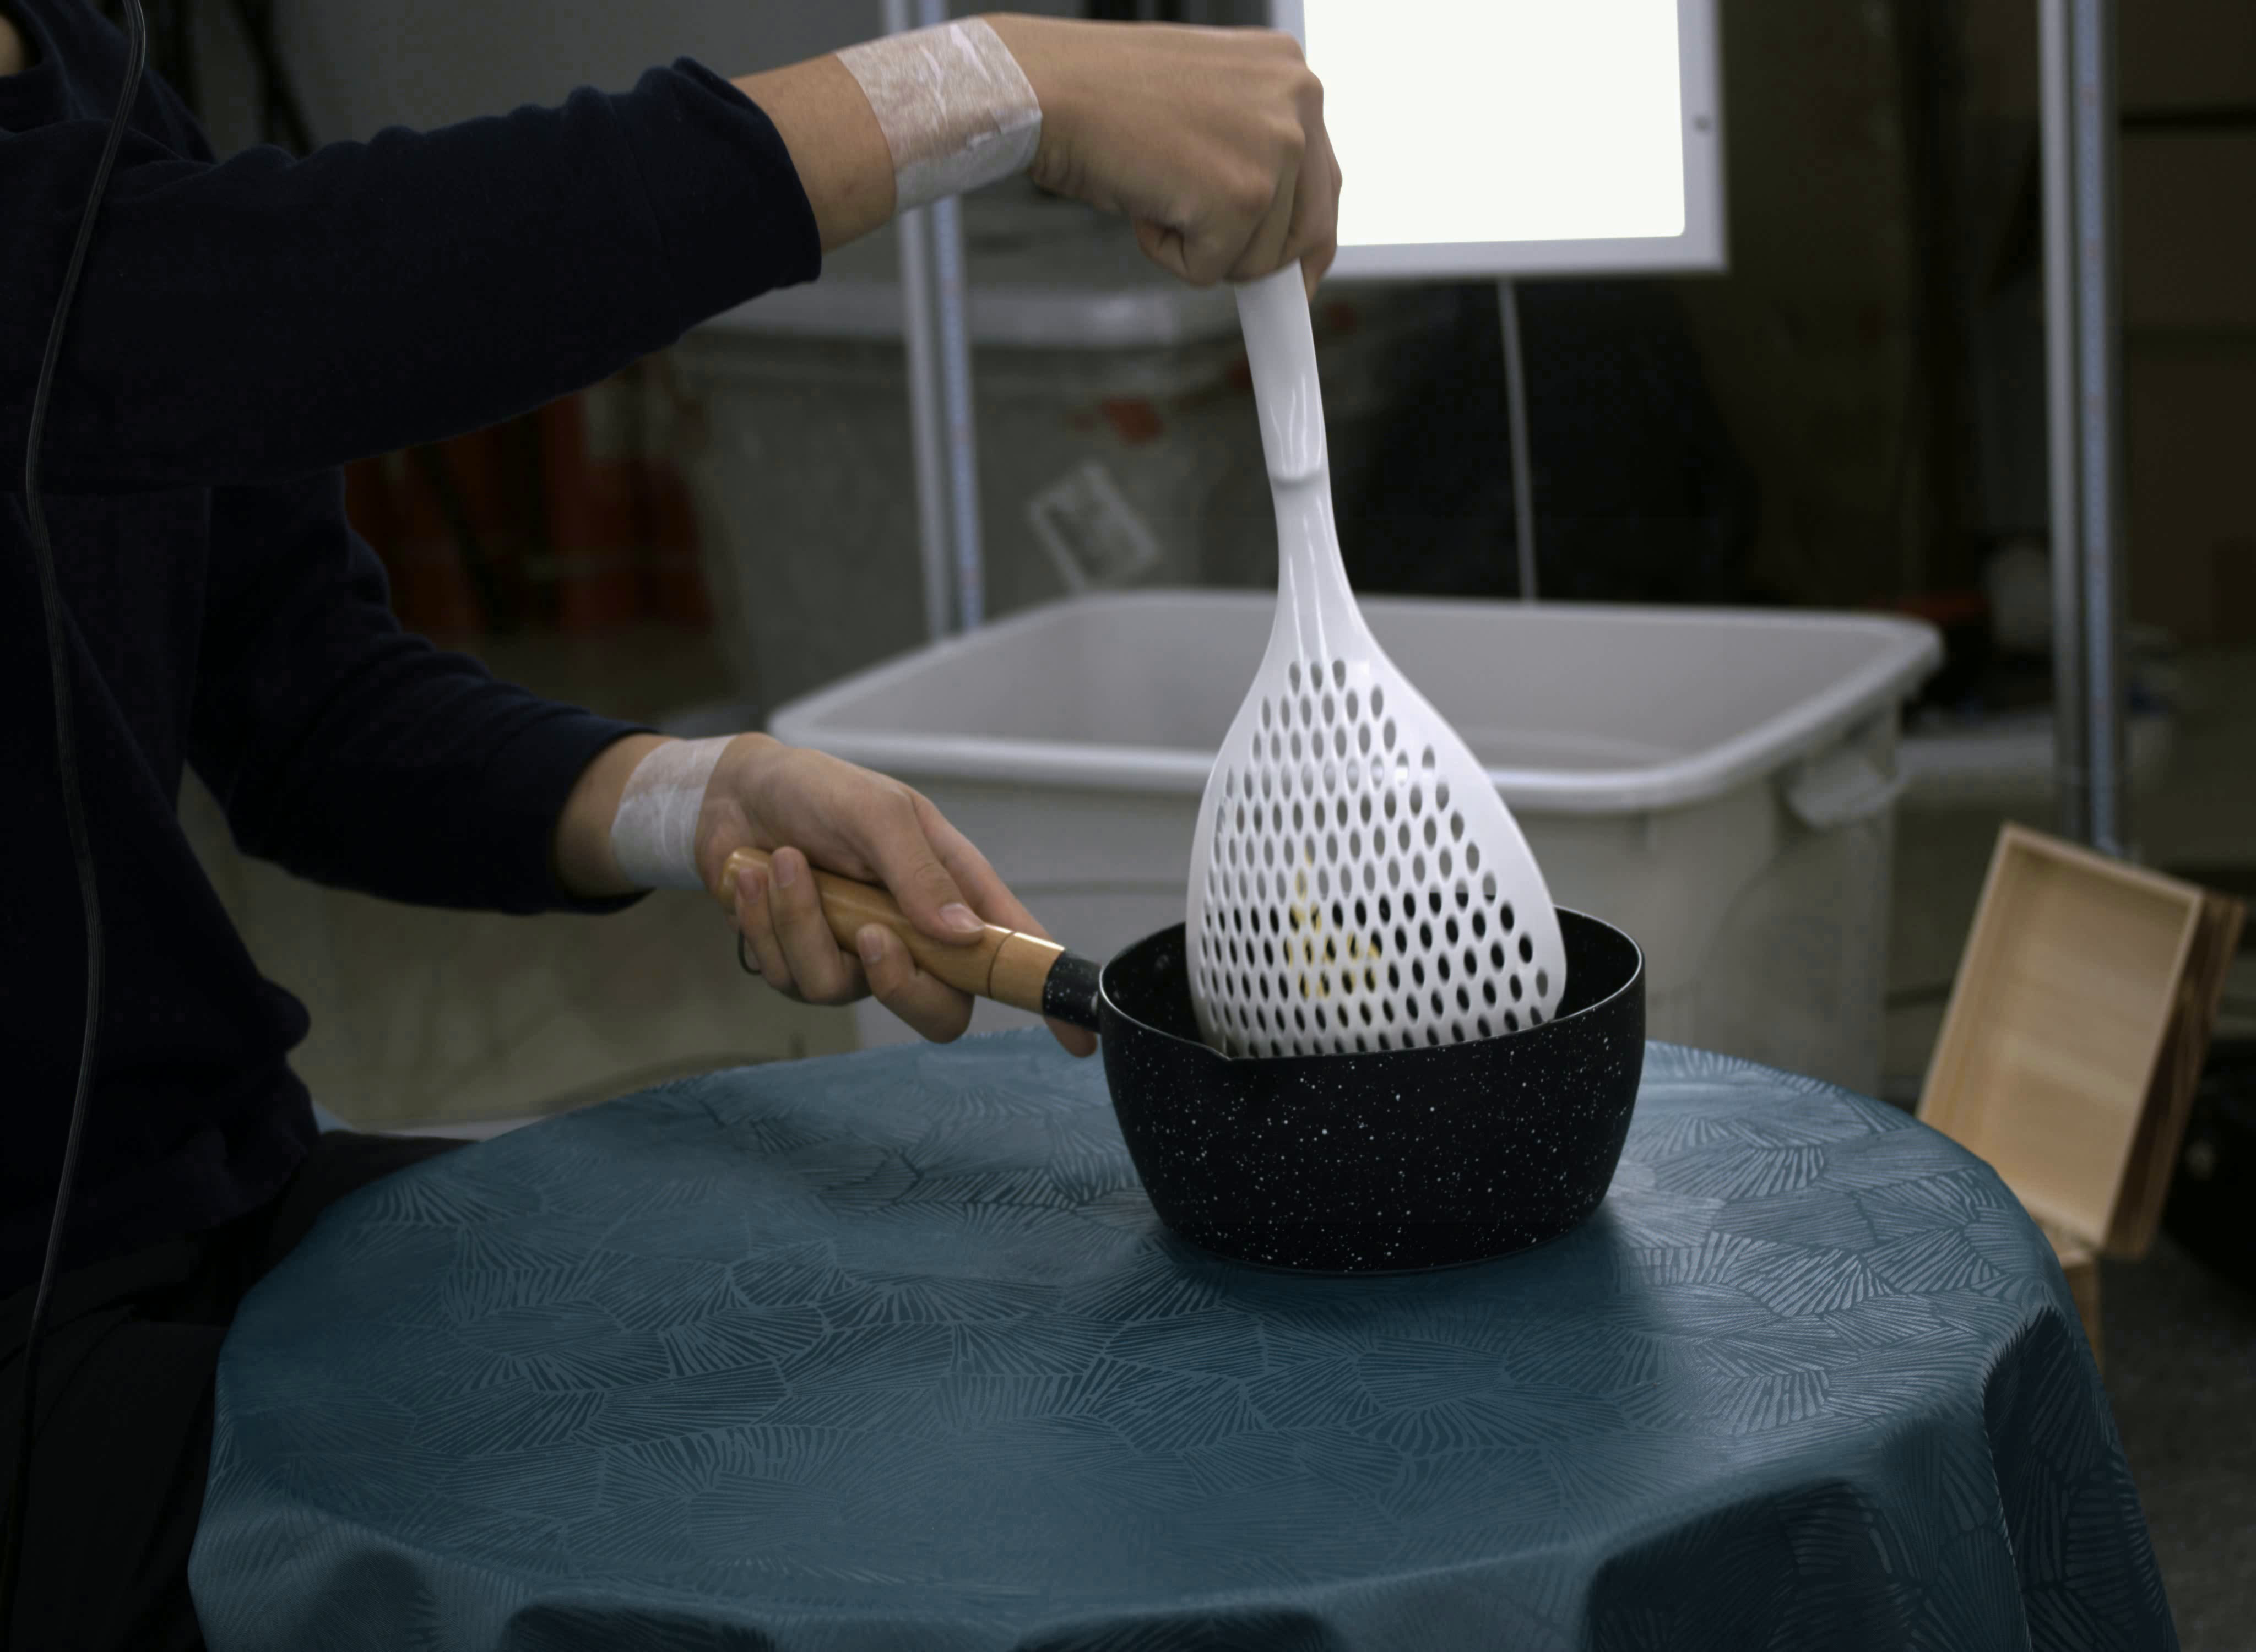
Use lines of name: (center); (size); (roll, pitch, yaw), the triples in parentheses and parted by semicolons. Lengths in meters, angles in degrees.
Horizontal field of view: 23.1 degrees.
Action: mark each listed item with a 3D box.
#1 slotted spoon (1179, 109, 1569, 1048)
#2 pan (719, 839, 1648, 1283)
slotted spoon: (0.062, -0.059, 1.796); (0.139, 0.349, 0.049); (-4, 5, 26)
pan: (0.011, 0.071, 1.878); (0.348, 0.108, 0.203); (5, 18, 27)
